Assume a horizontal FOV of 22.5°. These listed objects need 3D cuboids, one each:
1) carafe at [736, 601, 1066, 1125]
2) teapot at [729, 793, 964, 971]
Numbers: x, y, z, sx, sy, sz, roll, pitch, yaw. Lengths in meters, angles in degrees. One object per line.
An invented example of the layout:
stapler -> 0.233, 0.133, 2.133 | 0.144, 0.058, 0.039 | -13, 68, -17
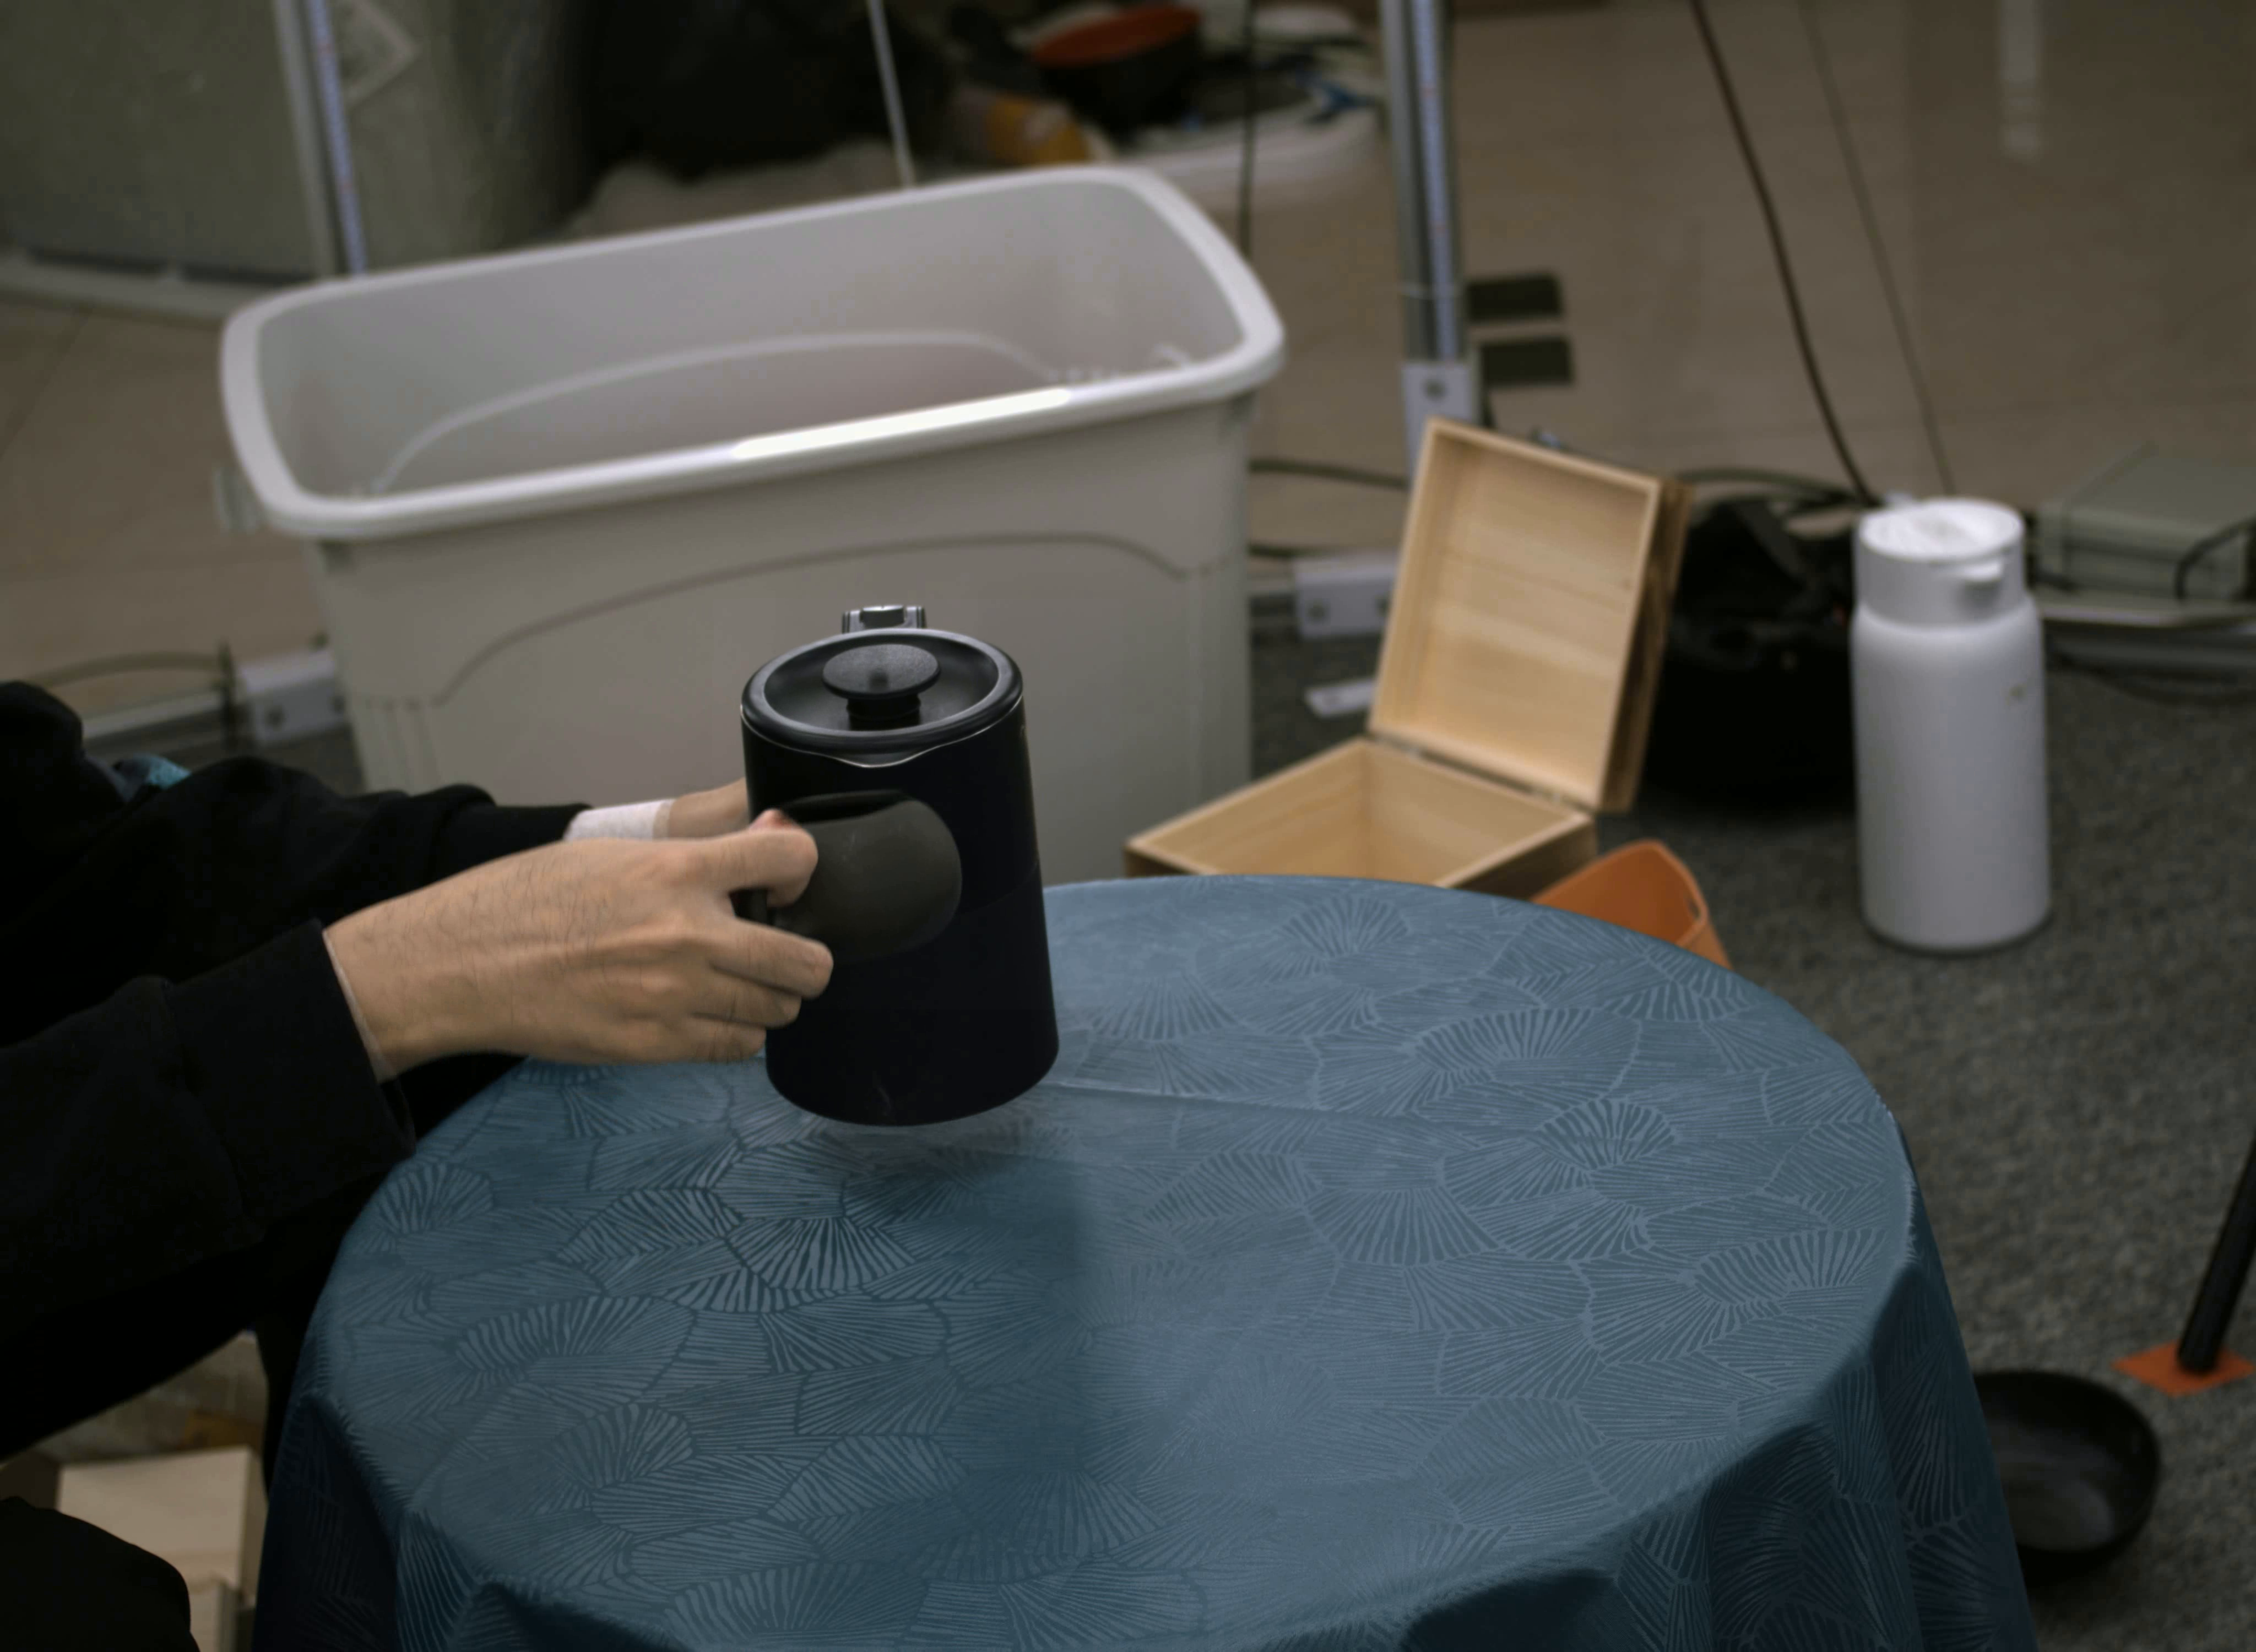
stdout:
carafe -> -0.090, 0.004, 2.177 | 0.114, 0.176, 0.169 | -6, 29, 0
teapot -> -0.106, 0.022, 1.983 | 0.083, 0.053, 0.113 | -1, 10, 32
